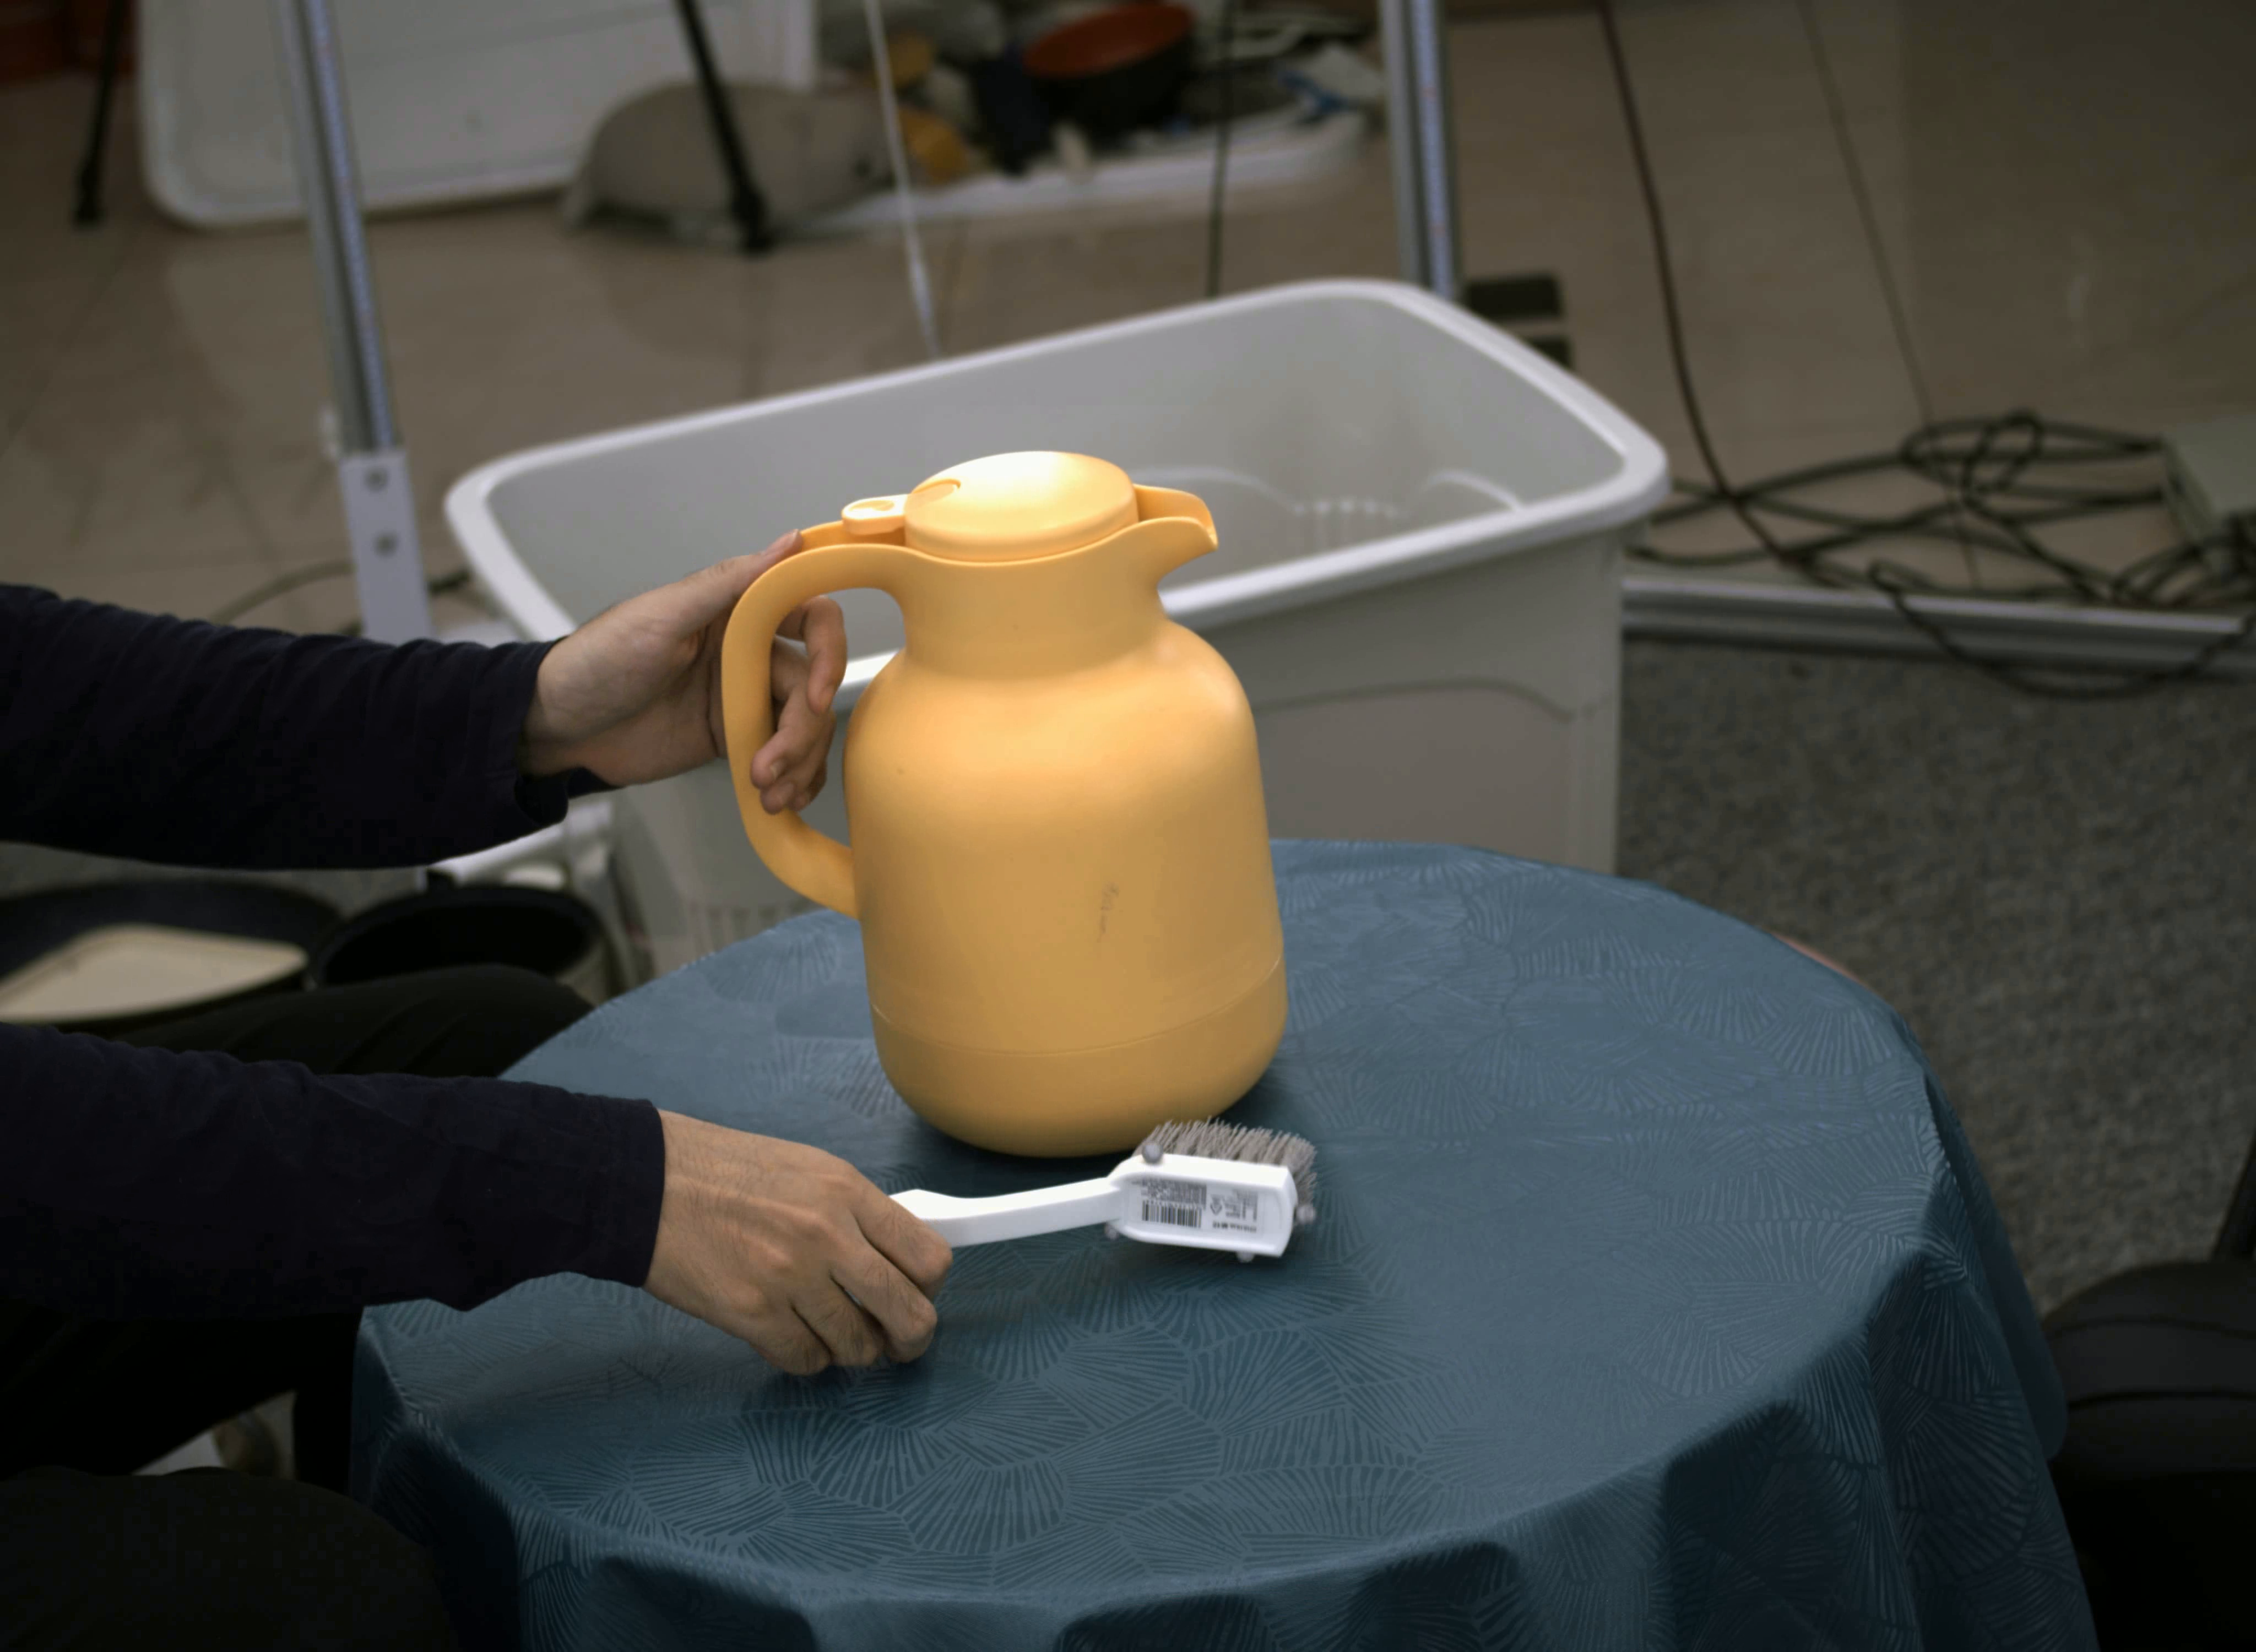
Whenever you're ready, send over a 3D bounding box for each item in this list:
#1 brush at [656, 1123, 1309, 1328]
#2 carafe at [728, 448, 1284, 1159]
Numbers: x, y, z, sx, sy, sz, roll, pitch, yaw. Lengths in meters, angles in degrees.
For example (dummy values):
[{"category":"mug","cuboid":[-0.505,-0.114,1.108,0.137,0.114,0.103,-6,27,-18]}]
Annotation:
[{"category":"brush","cuboid":[-0.053,0.145,2.077,0.243,0.035,0.049,-8,44,-2]},{"category":"carafe","cuboid":[-0.047,-0.012,2.171,0.202,0.264,0.161,-3,23,6]}]
